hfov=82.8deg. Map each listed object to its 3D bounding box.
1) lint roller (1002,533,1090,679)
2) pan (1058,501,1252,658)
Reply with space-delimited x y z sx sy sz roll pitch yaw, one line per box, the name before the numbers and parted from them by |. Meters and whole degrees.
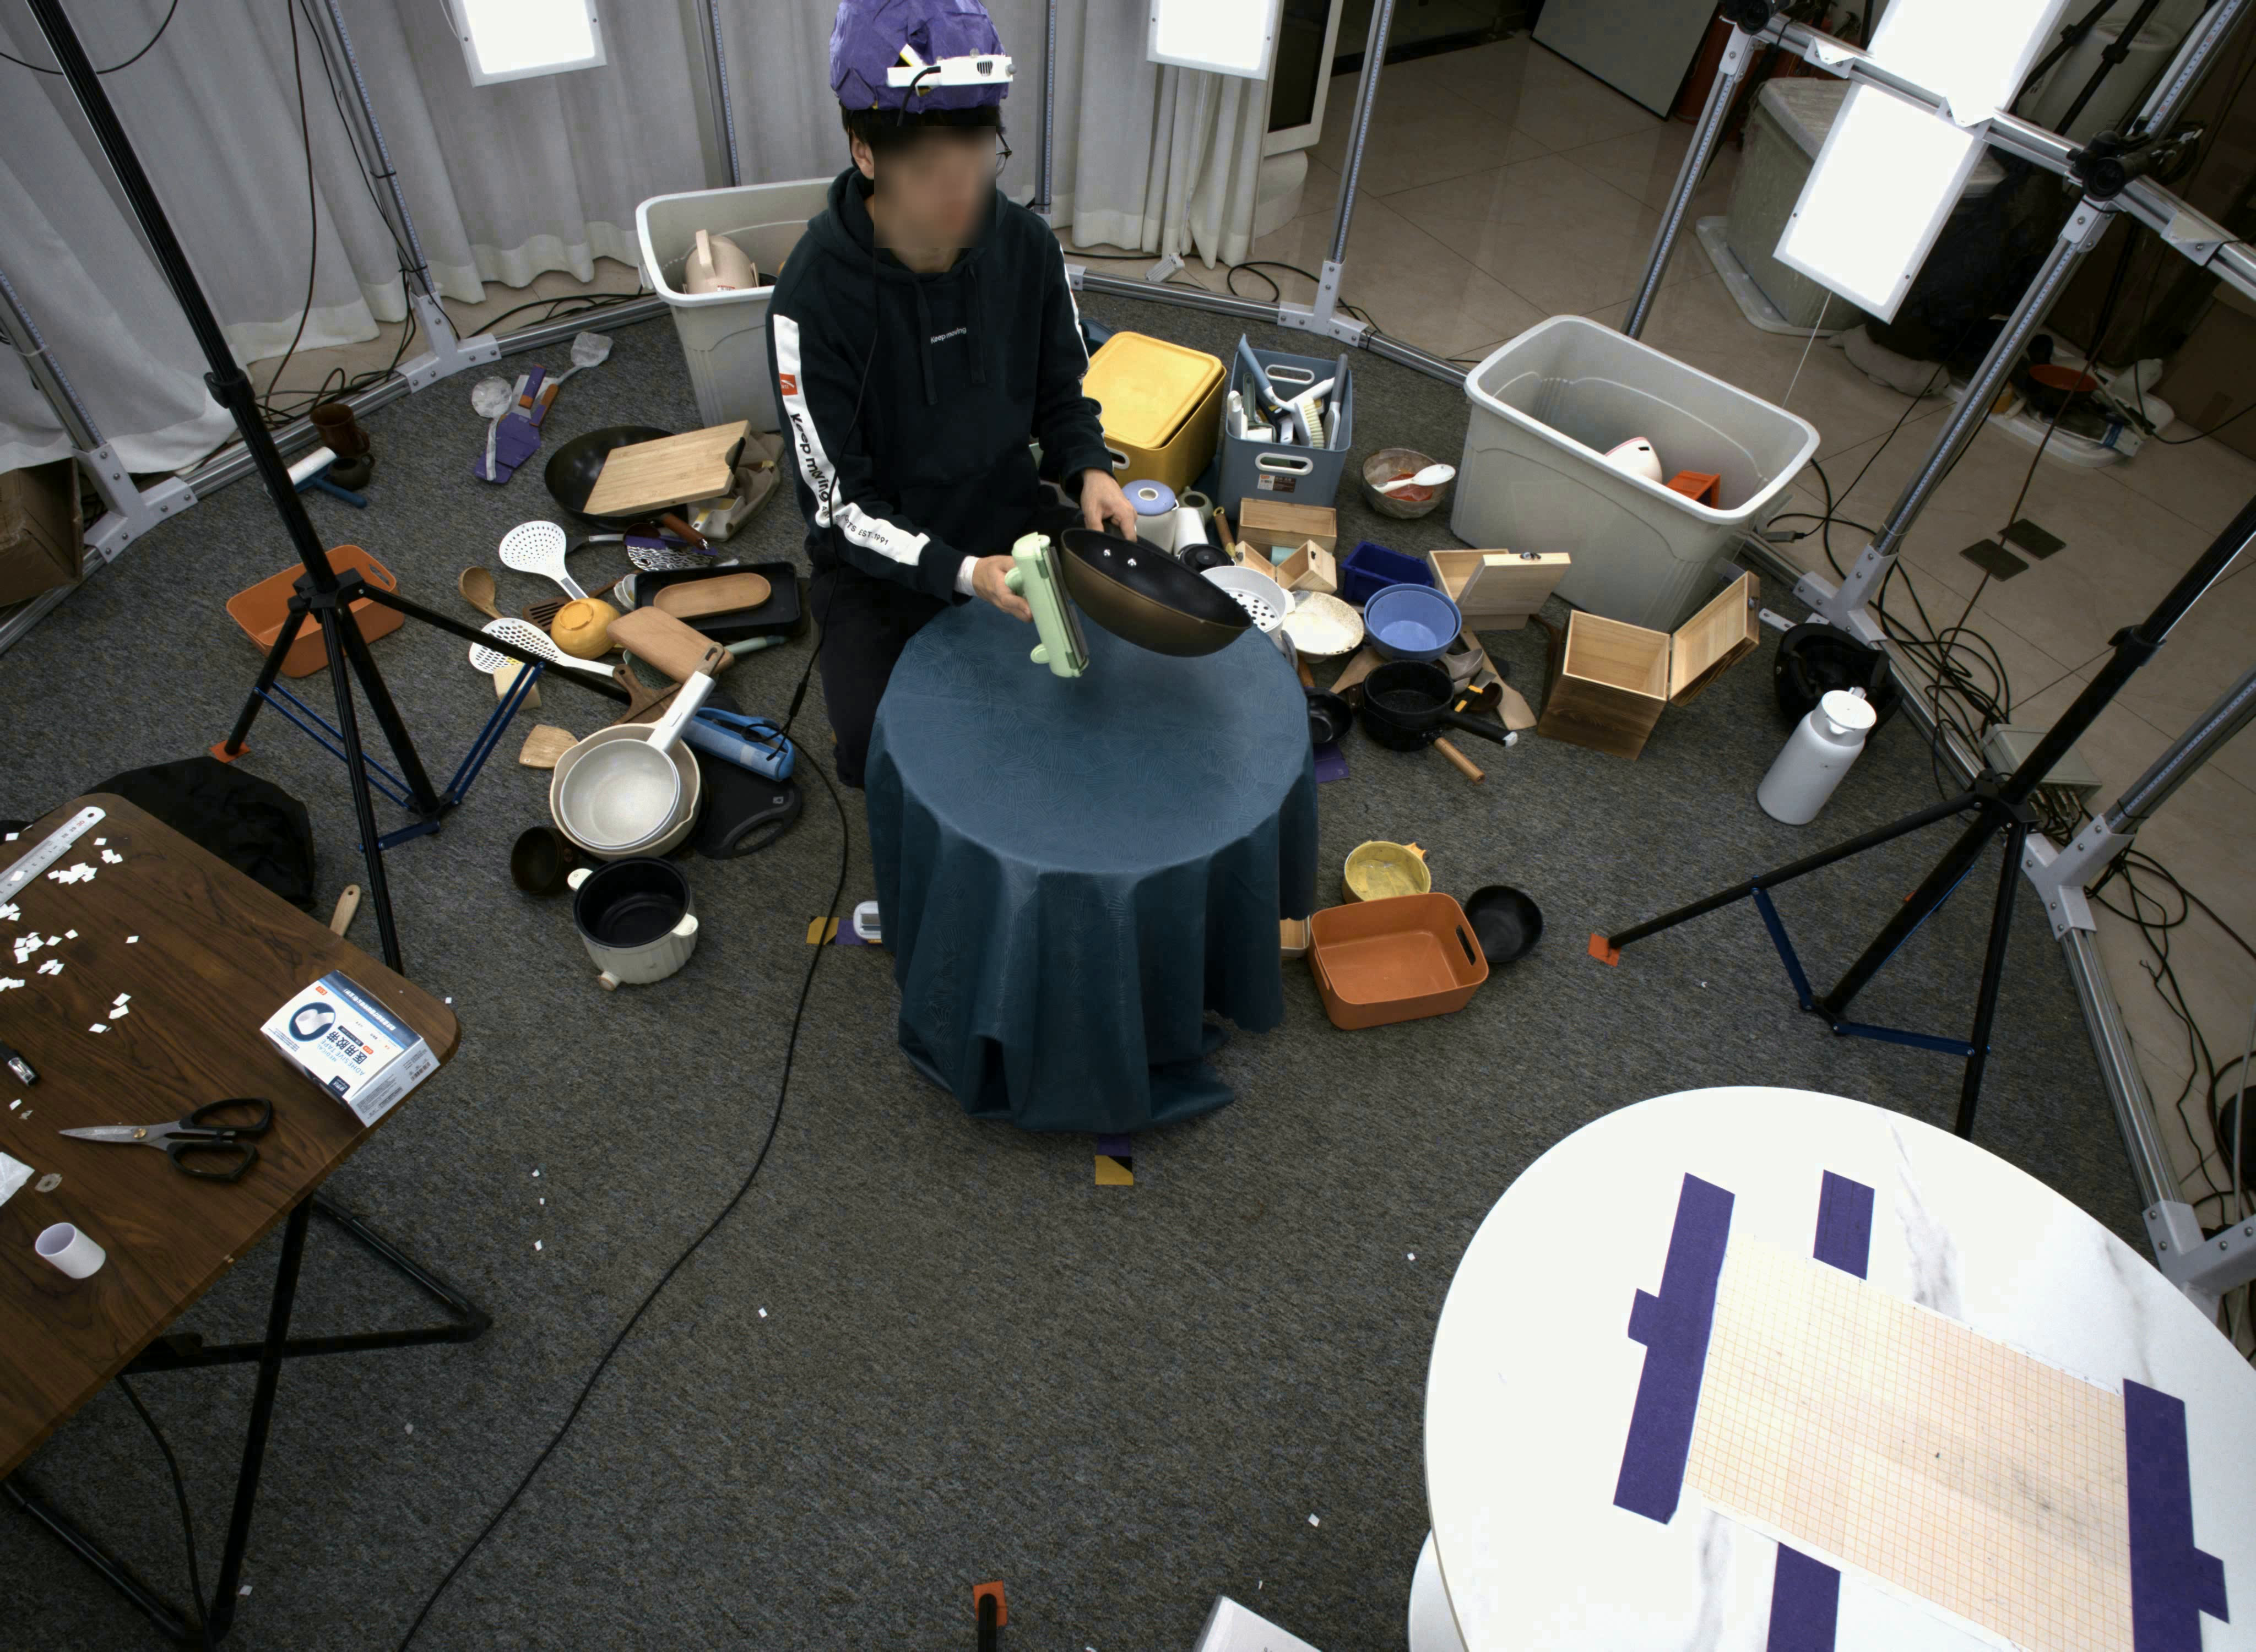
lint roller | -0.139 -0.305 1.758 0.082 0.194 0.186 -32 33 -21
pan | -0.007 -0.348 1.797 0.285 0.086 0.474 13 25 -29
